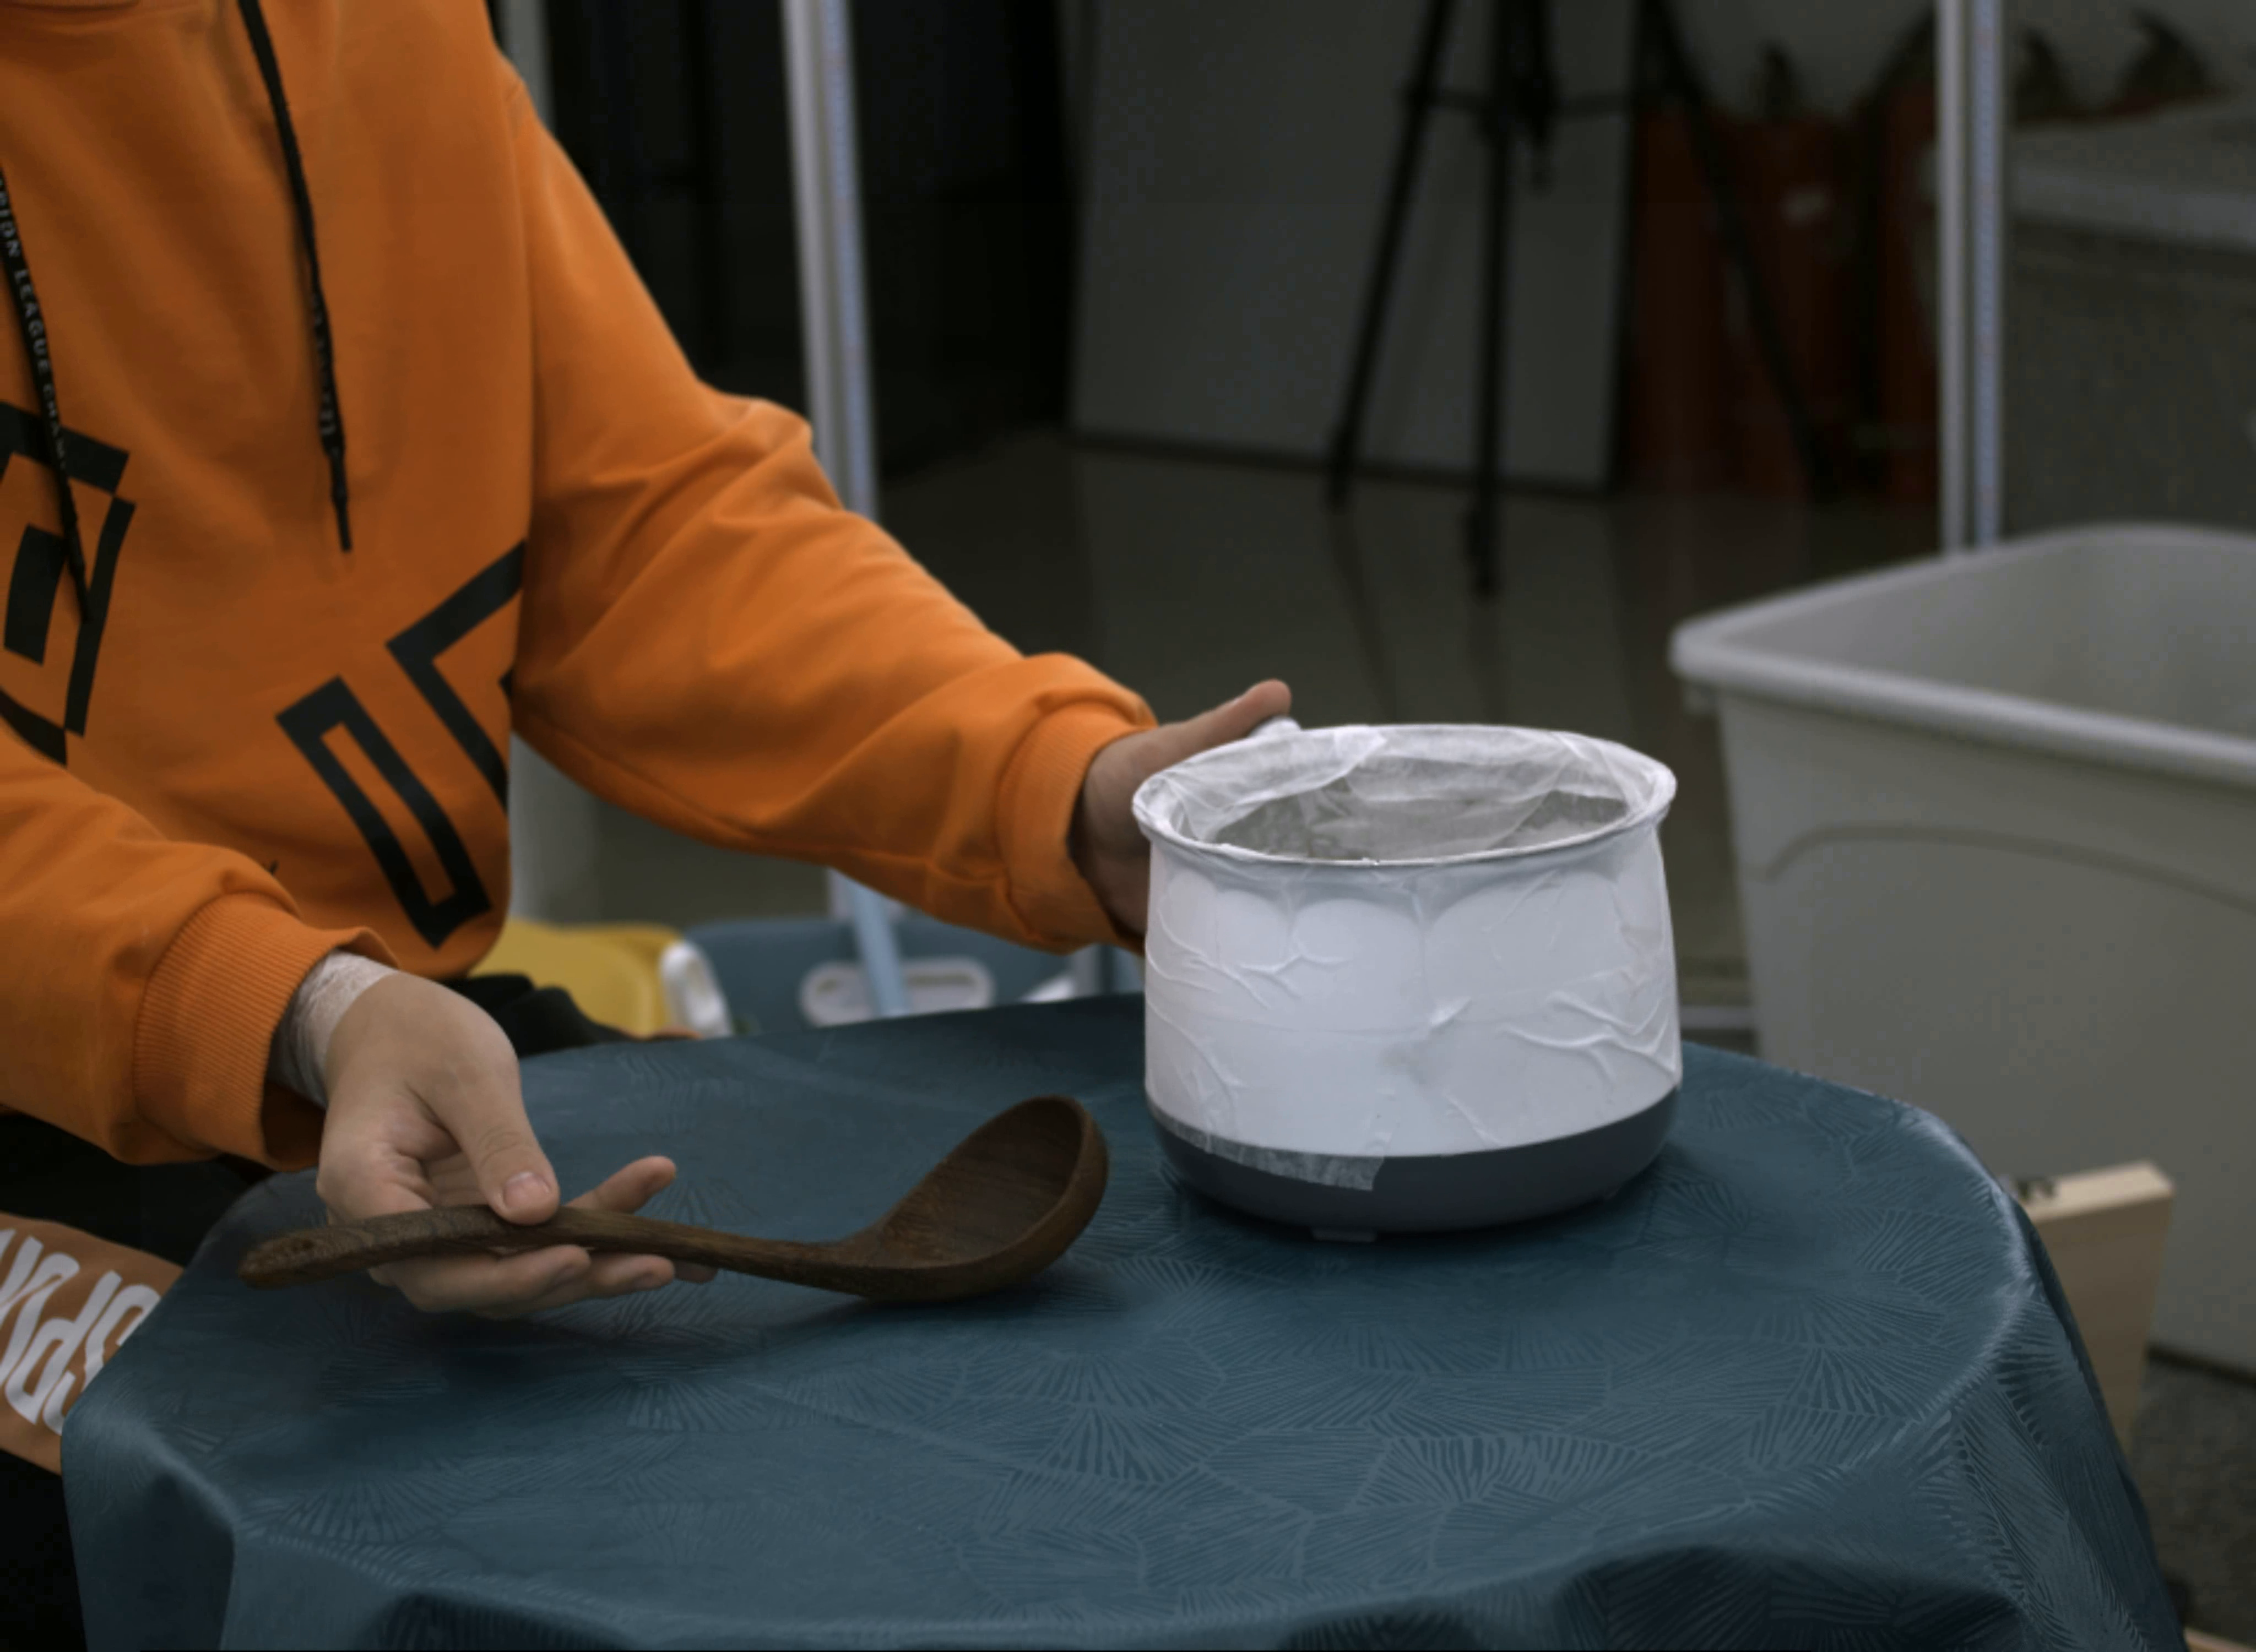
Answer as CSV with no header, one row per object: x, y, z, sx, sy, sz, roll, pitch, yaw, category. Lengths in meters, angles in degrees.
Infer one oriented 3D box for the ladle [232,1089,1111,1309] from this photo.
-0.135,0.109,1.641,0.268,0.072,0.077,5,8,-23,ladle

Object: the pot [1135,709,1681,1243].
0.080,0.043,1.772,0.175,0.138,0.236,-8,15,-22,pot
